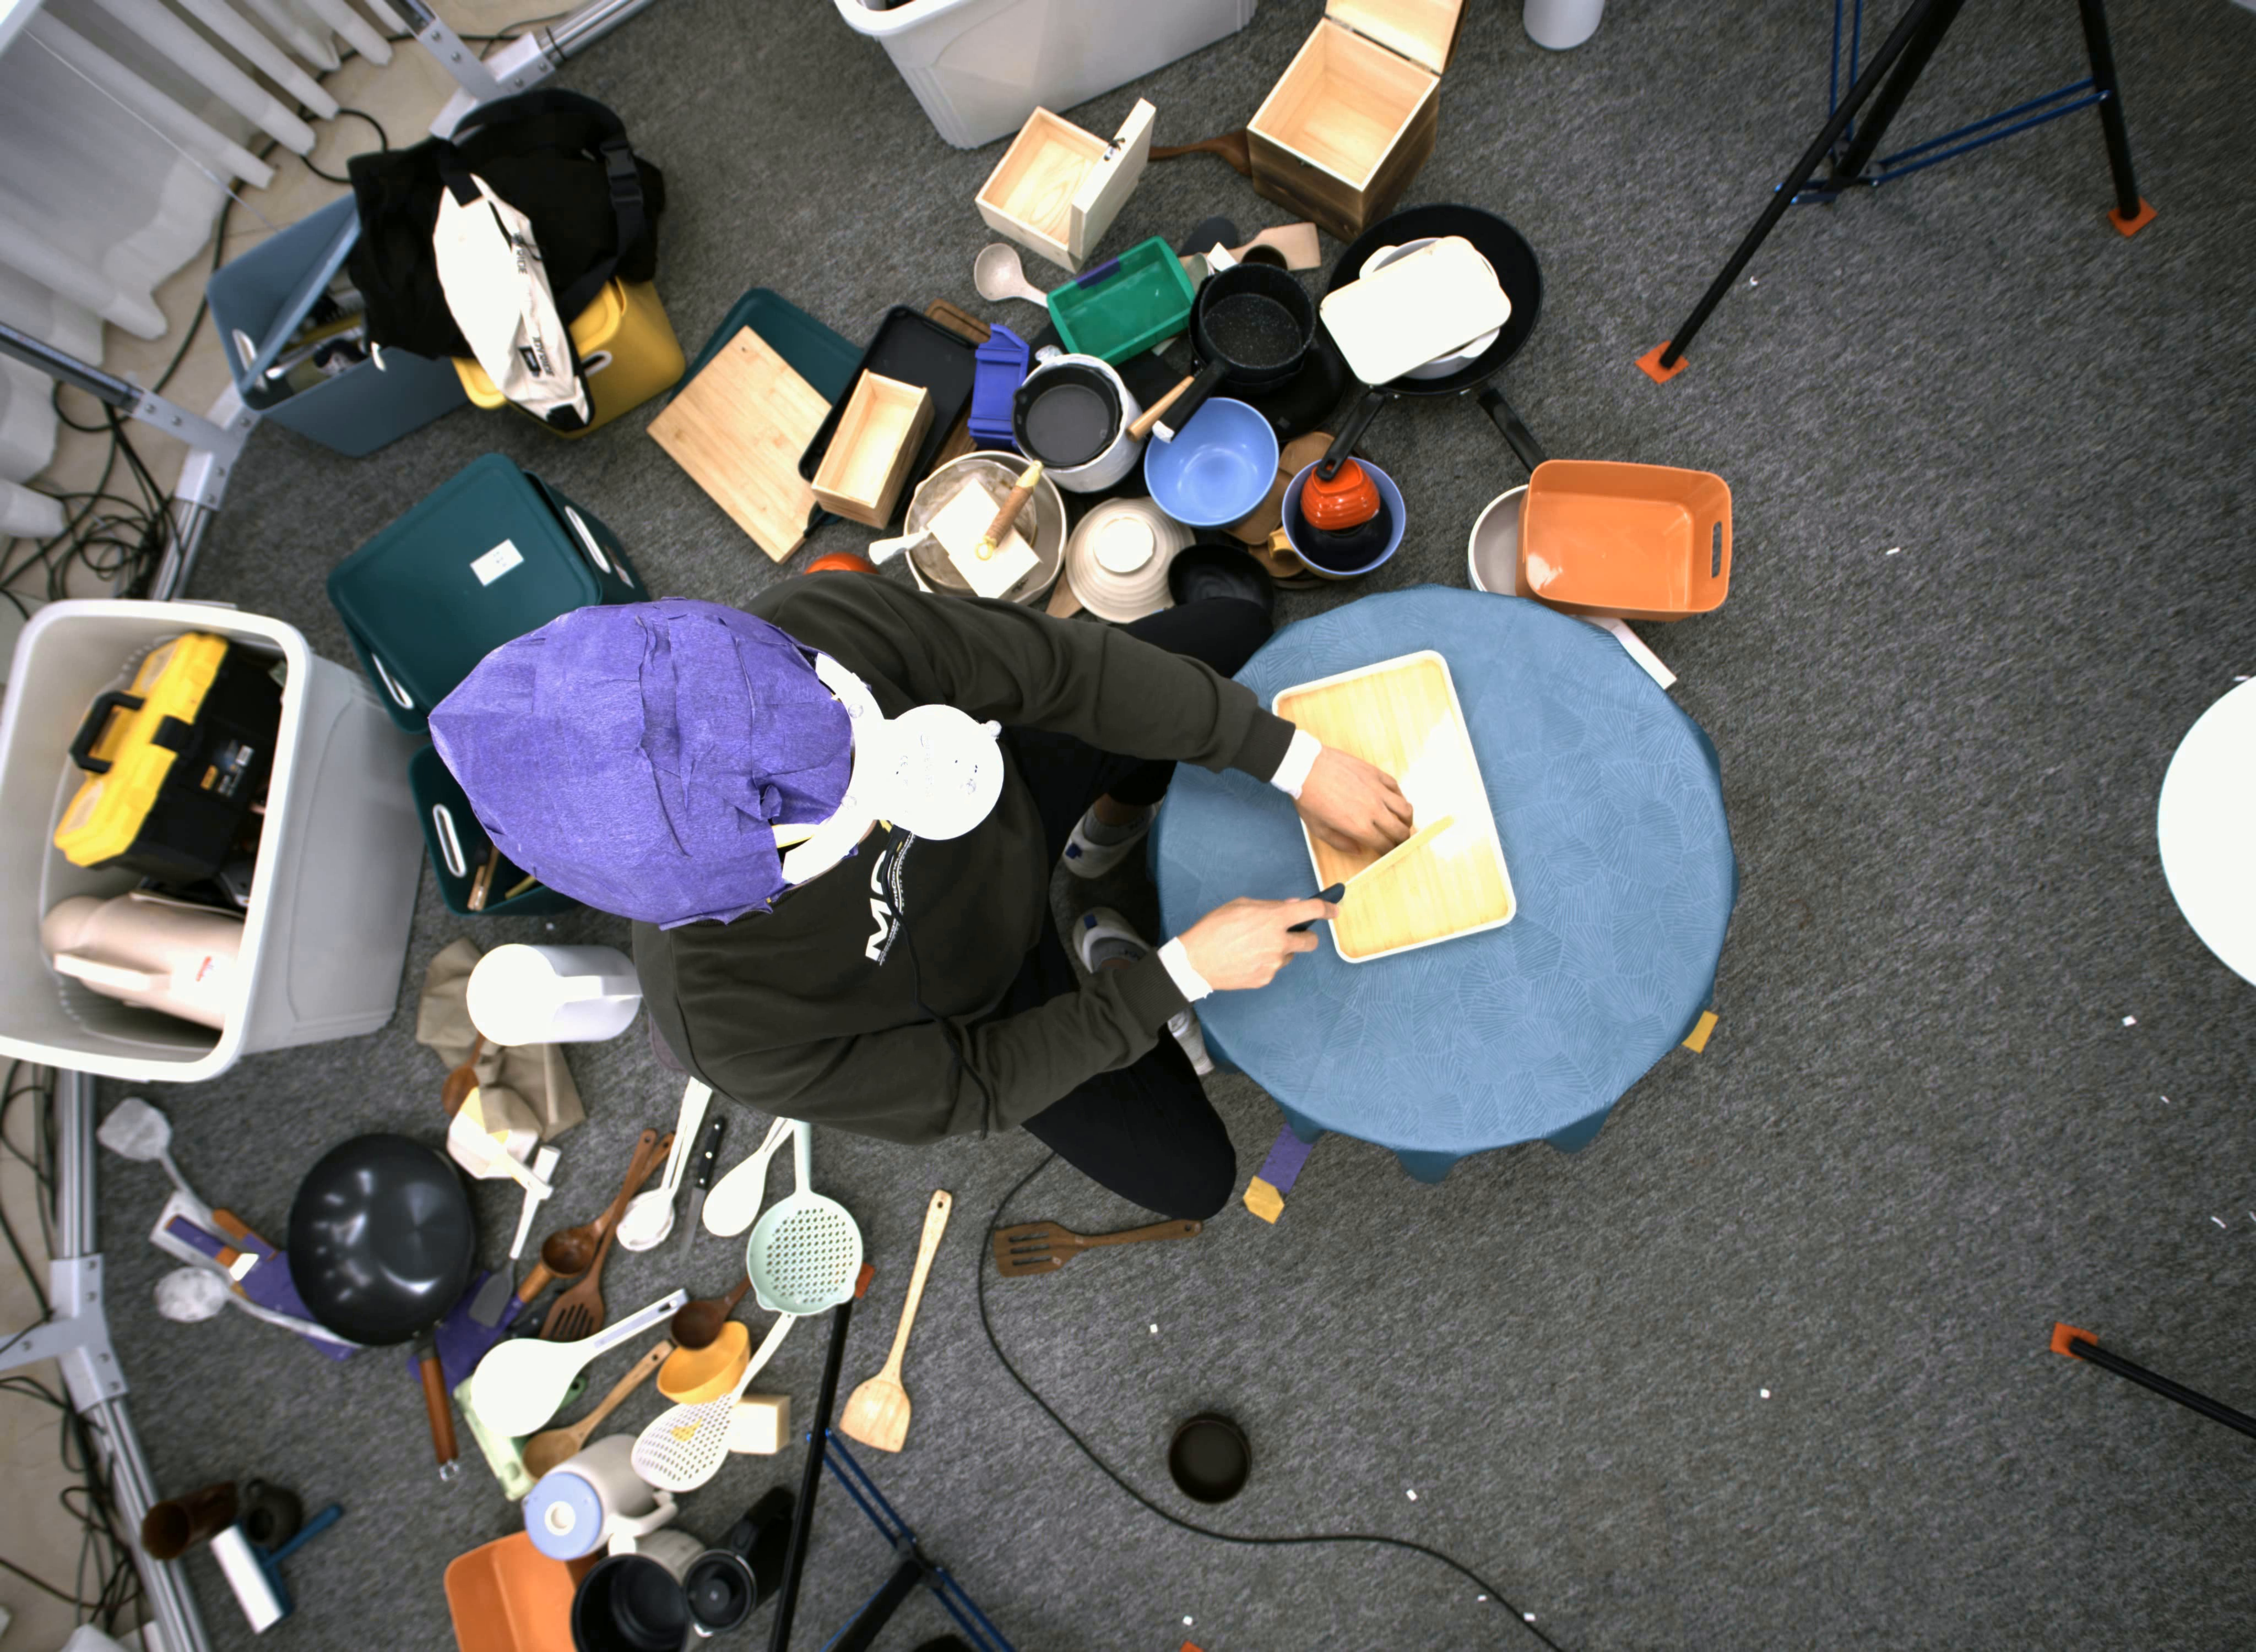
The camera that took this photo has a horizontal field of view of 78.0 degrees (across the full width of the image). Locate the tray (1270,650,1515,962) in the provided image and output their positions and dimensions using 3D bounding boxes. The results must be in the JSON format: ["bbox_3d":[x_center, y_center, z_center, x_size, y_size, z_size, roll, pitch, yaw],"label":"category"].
[{"bbox_3d":[0.276,-0.022,1.451,0.193,0.027,0.298,-15,84,10],"label":"tray"}]

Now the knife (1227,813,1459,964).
[{"bbox_3d":[0.221,0.060,1.398,0.287,0.082,0.027,-31,71,-11],"label":"knife"}]
